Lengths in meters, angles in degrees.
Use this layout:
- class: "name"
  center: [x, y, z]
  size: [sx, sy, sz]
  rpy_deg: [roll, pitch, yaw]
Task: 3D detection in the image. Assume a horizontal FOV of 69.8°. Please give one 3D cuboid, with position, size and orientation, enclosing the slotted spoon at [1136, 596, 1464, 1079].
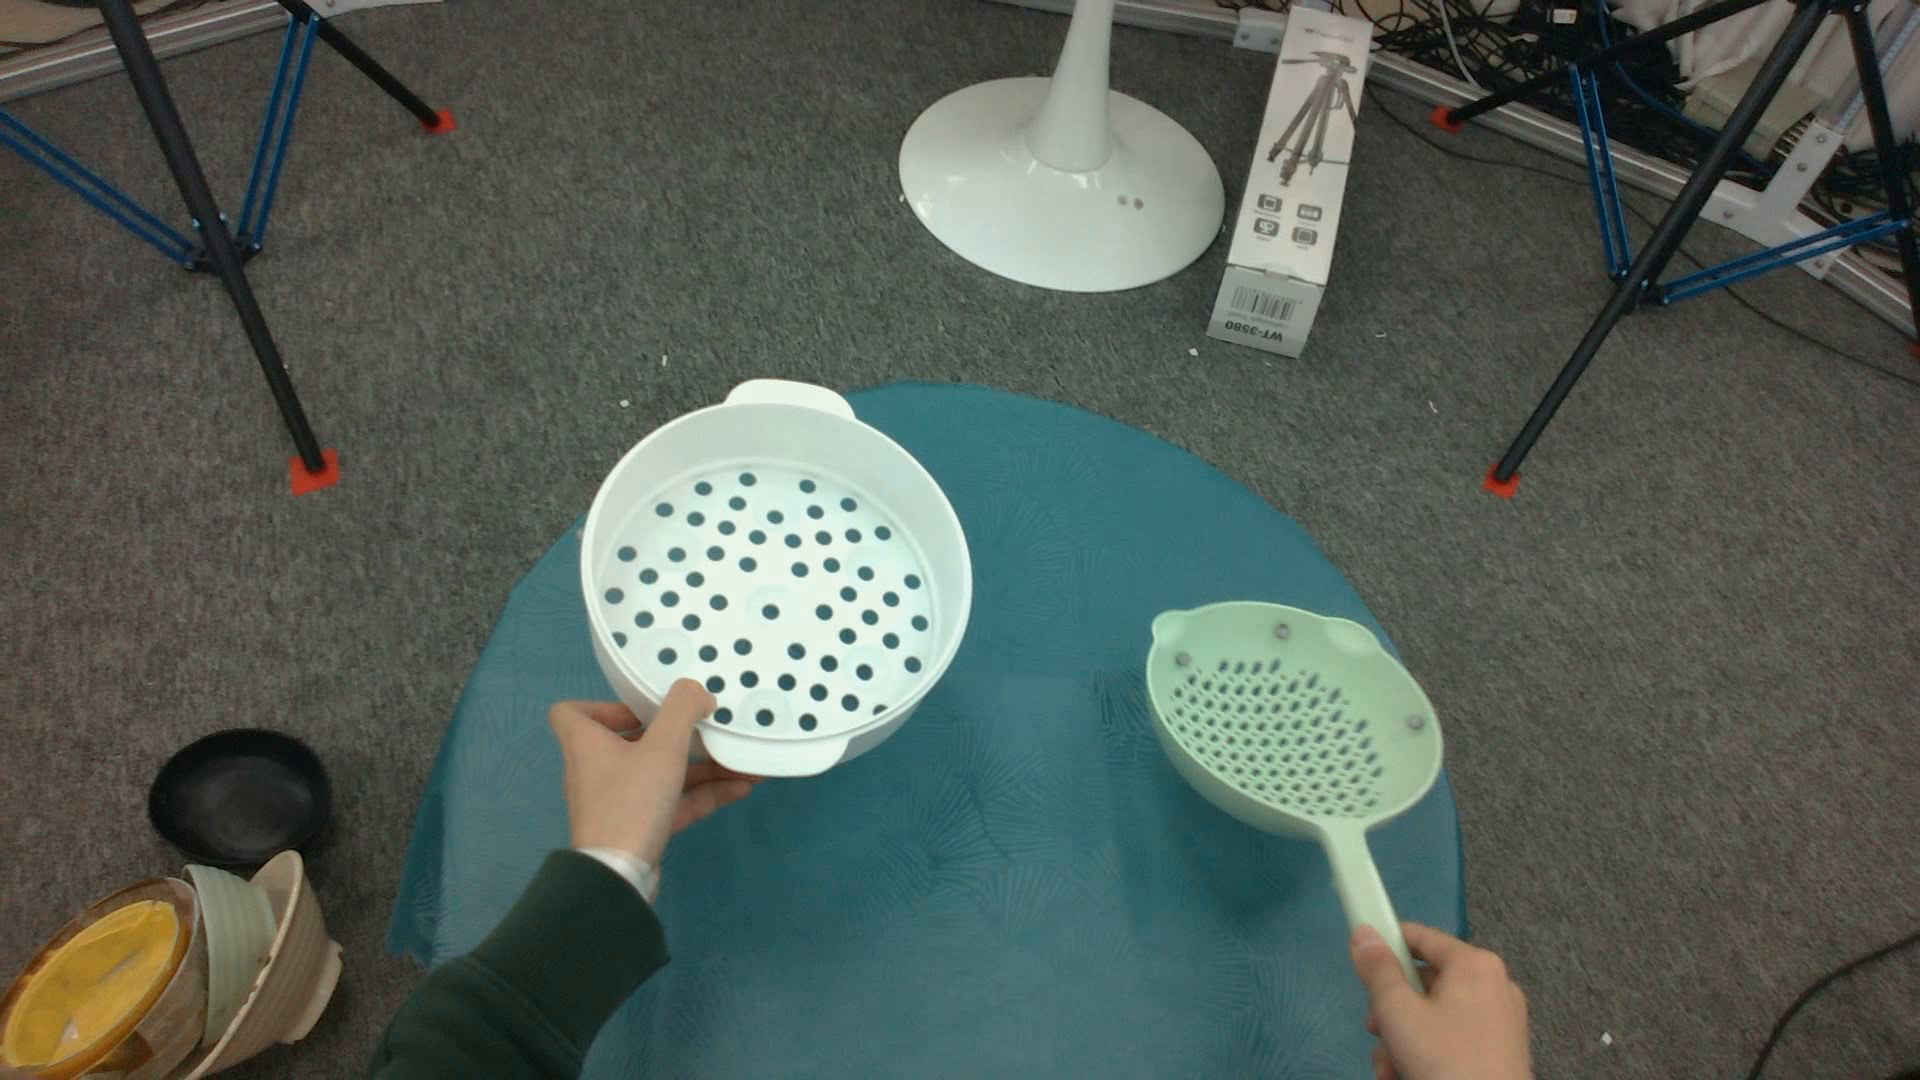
- class: "slotted spoon"
  center: [0.192, 0.159, 0.708]
  size: [0.169, 0.075, 0.360]
  rpy_deg: [2, 31, -10]

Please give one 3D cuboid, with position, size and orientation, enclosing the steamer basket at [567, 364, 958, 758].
- class: "steamer basket"
  center: [-0.105, 0.016, 0.737]
  size: [0.202, 0.069, 0.231]
  rpy_deg: [5, 60, -13]
